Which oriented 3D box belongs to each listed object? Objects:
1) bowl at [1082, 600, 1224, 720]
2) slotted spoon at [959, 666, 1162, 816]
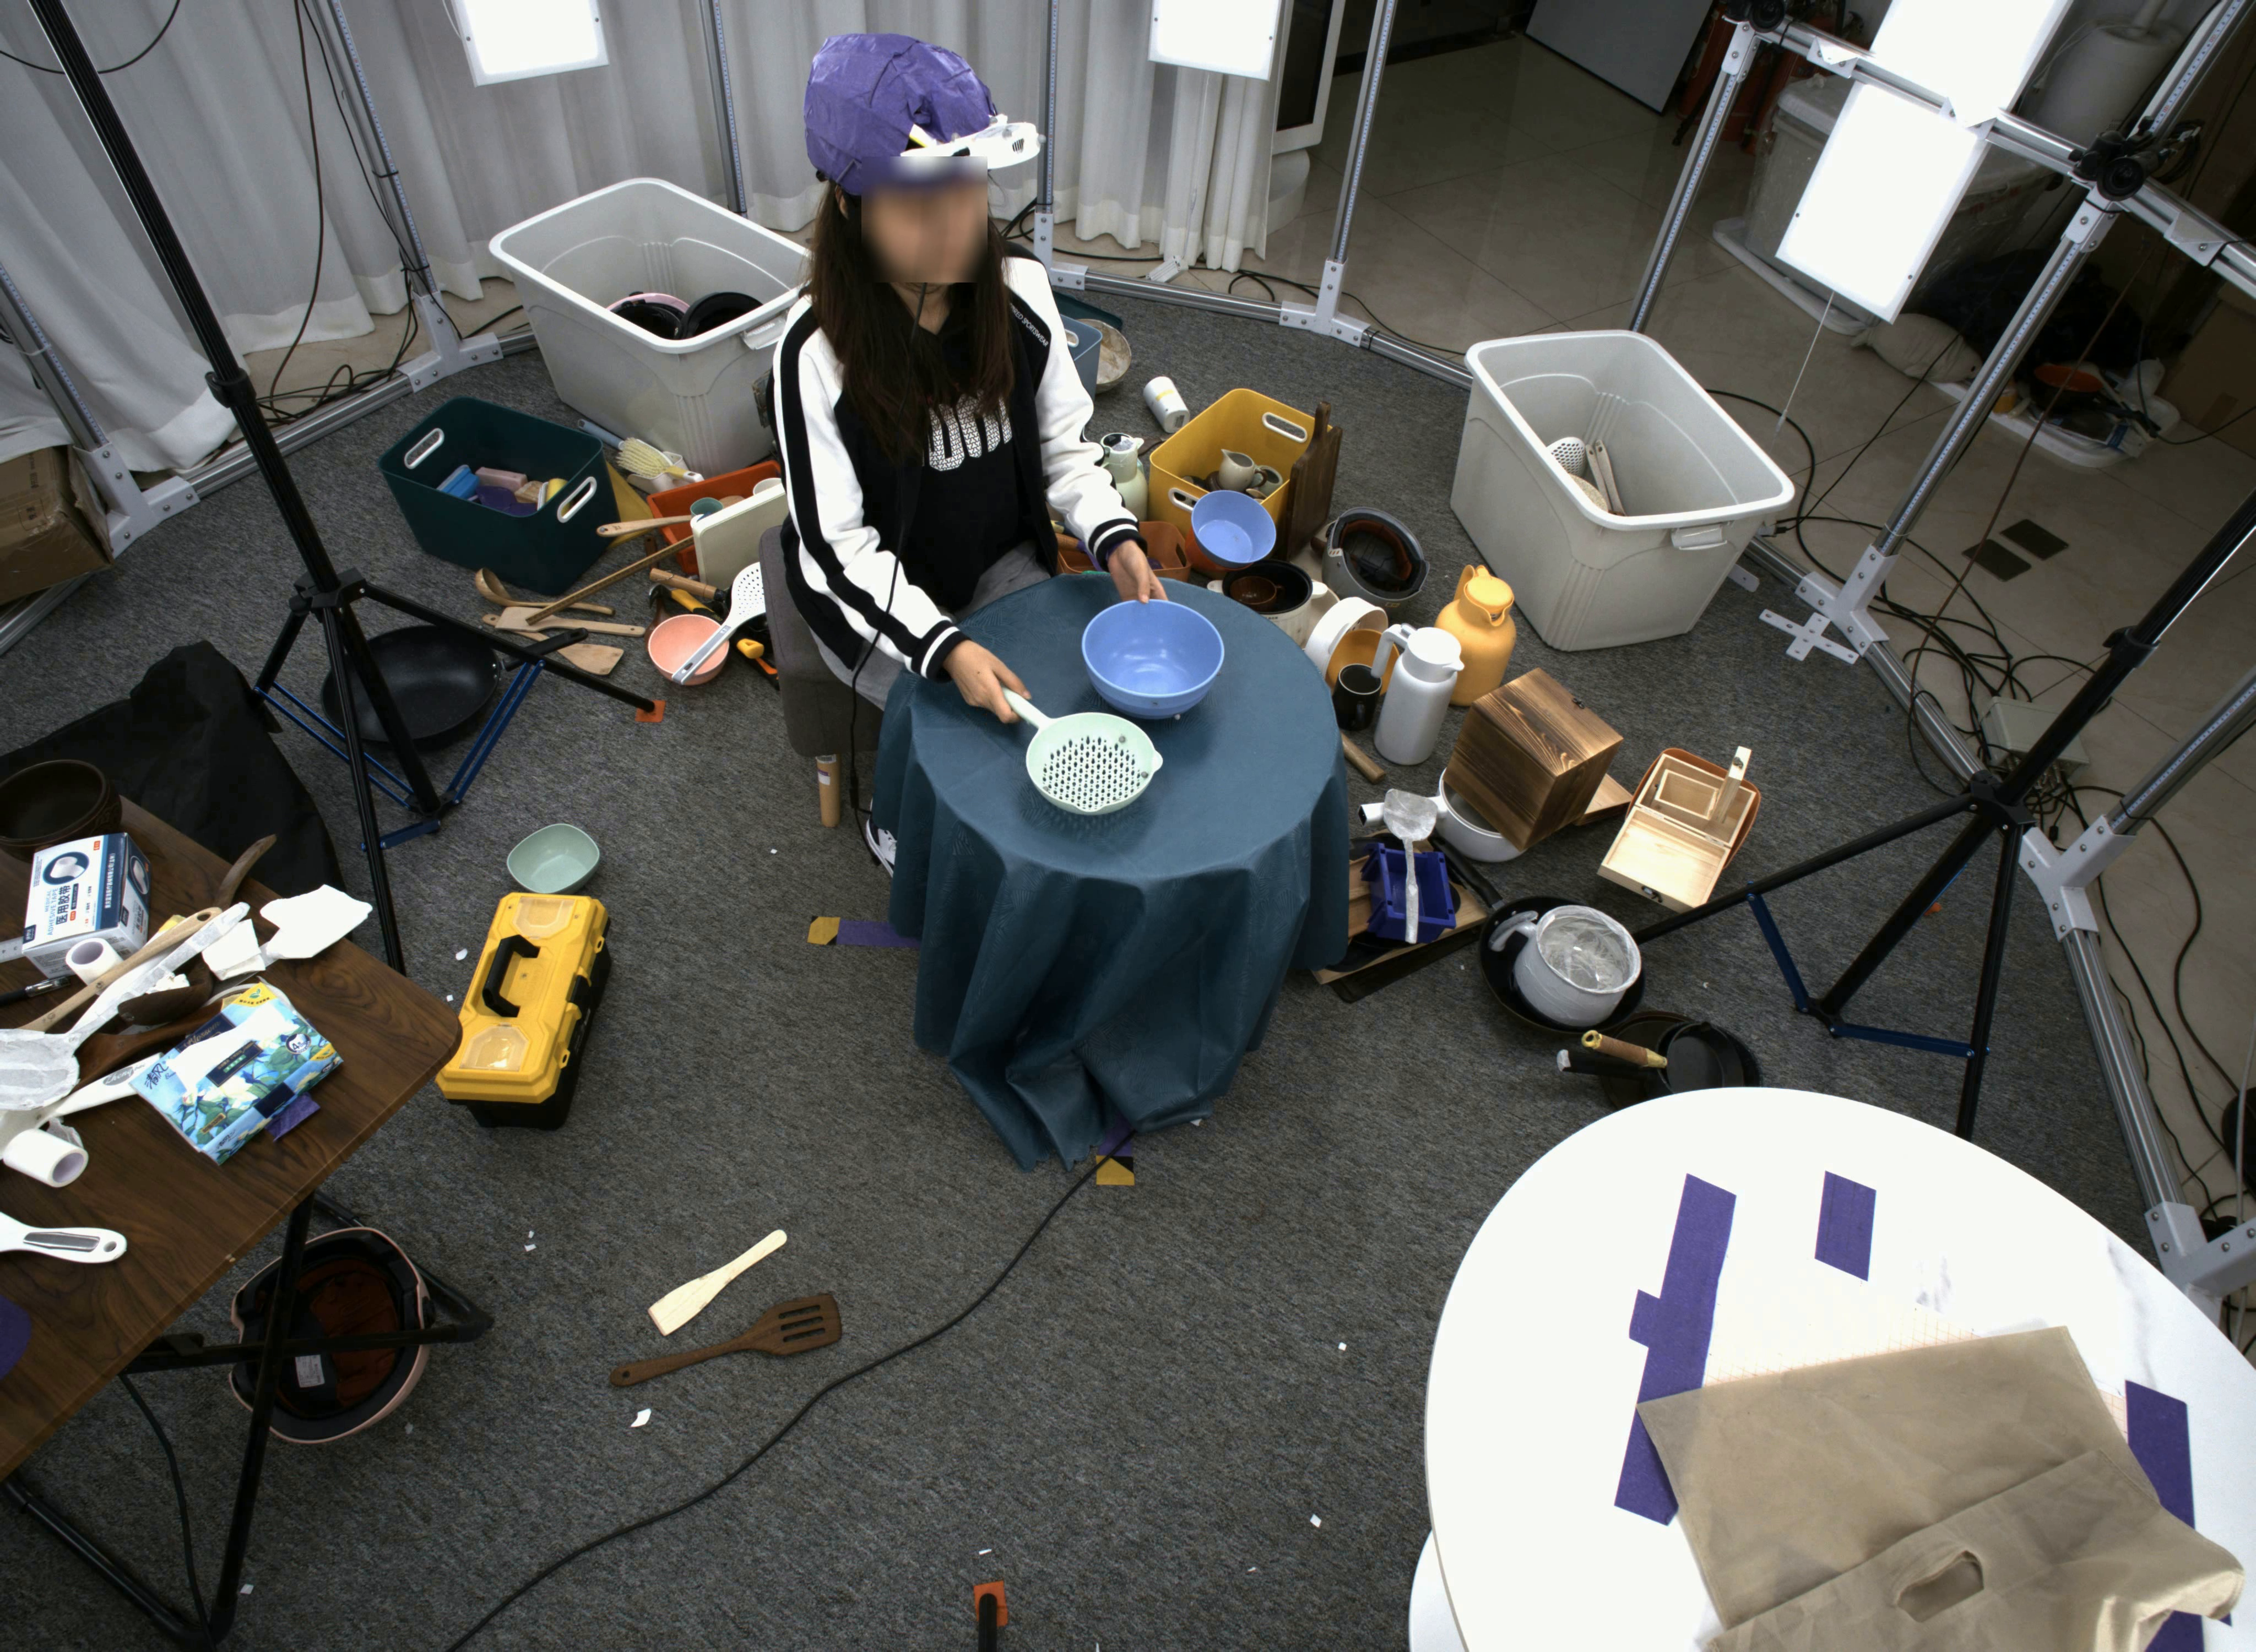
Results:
[{"bbox_3d":[0.032,-0.217,1.800,0.196,0.093,0.201,2,49,-2],"label":"bowl"},{"bbox_3d":[-0.115,-0.132,1.731,0.170,0.073,0.364,-34,62,-27],"label":"slotted spoon"}]
